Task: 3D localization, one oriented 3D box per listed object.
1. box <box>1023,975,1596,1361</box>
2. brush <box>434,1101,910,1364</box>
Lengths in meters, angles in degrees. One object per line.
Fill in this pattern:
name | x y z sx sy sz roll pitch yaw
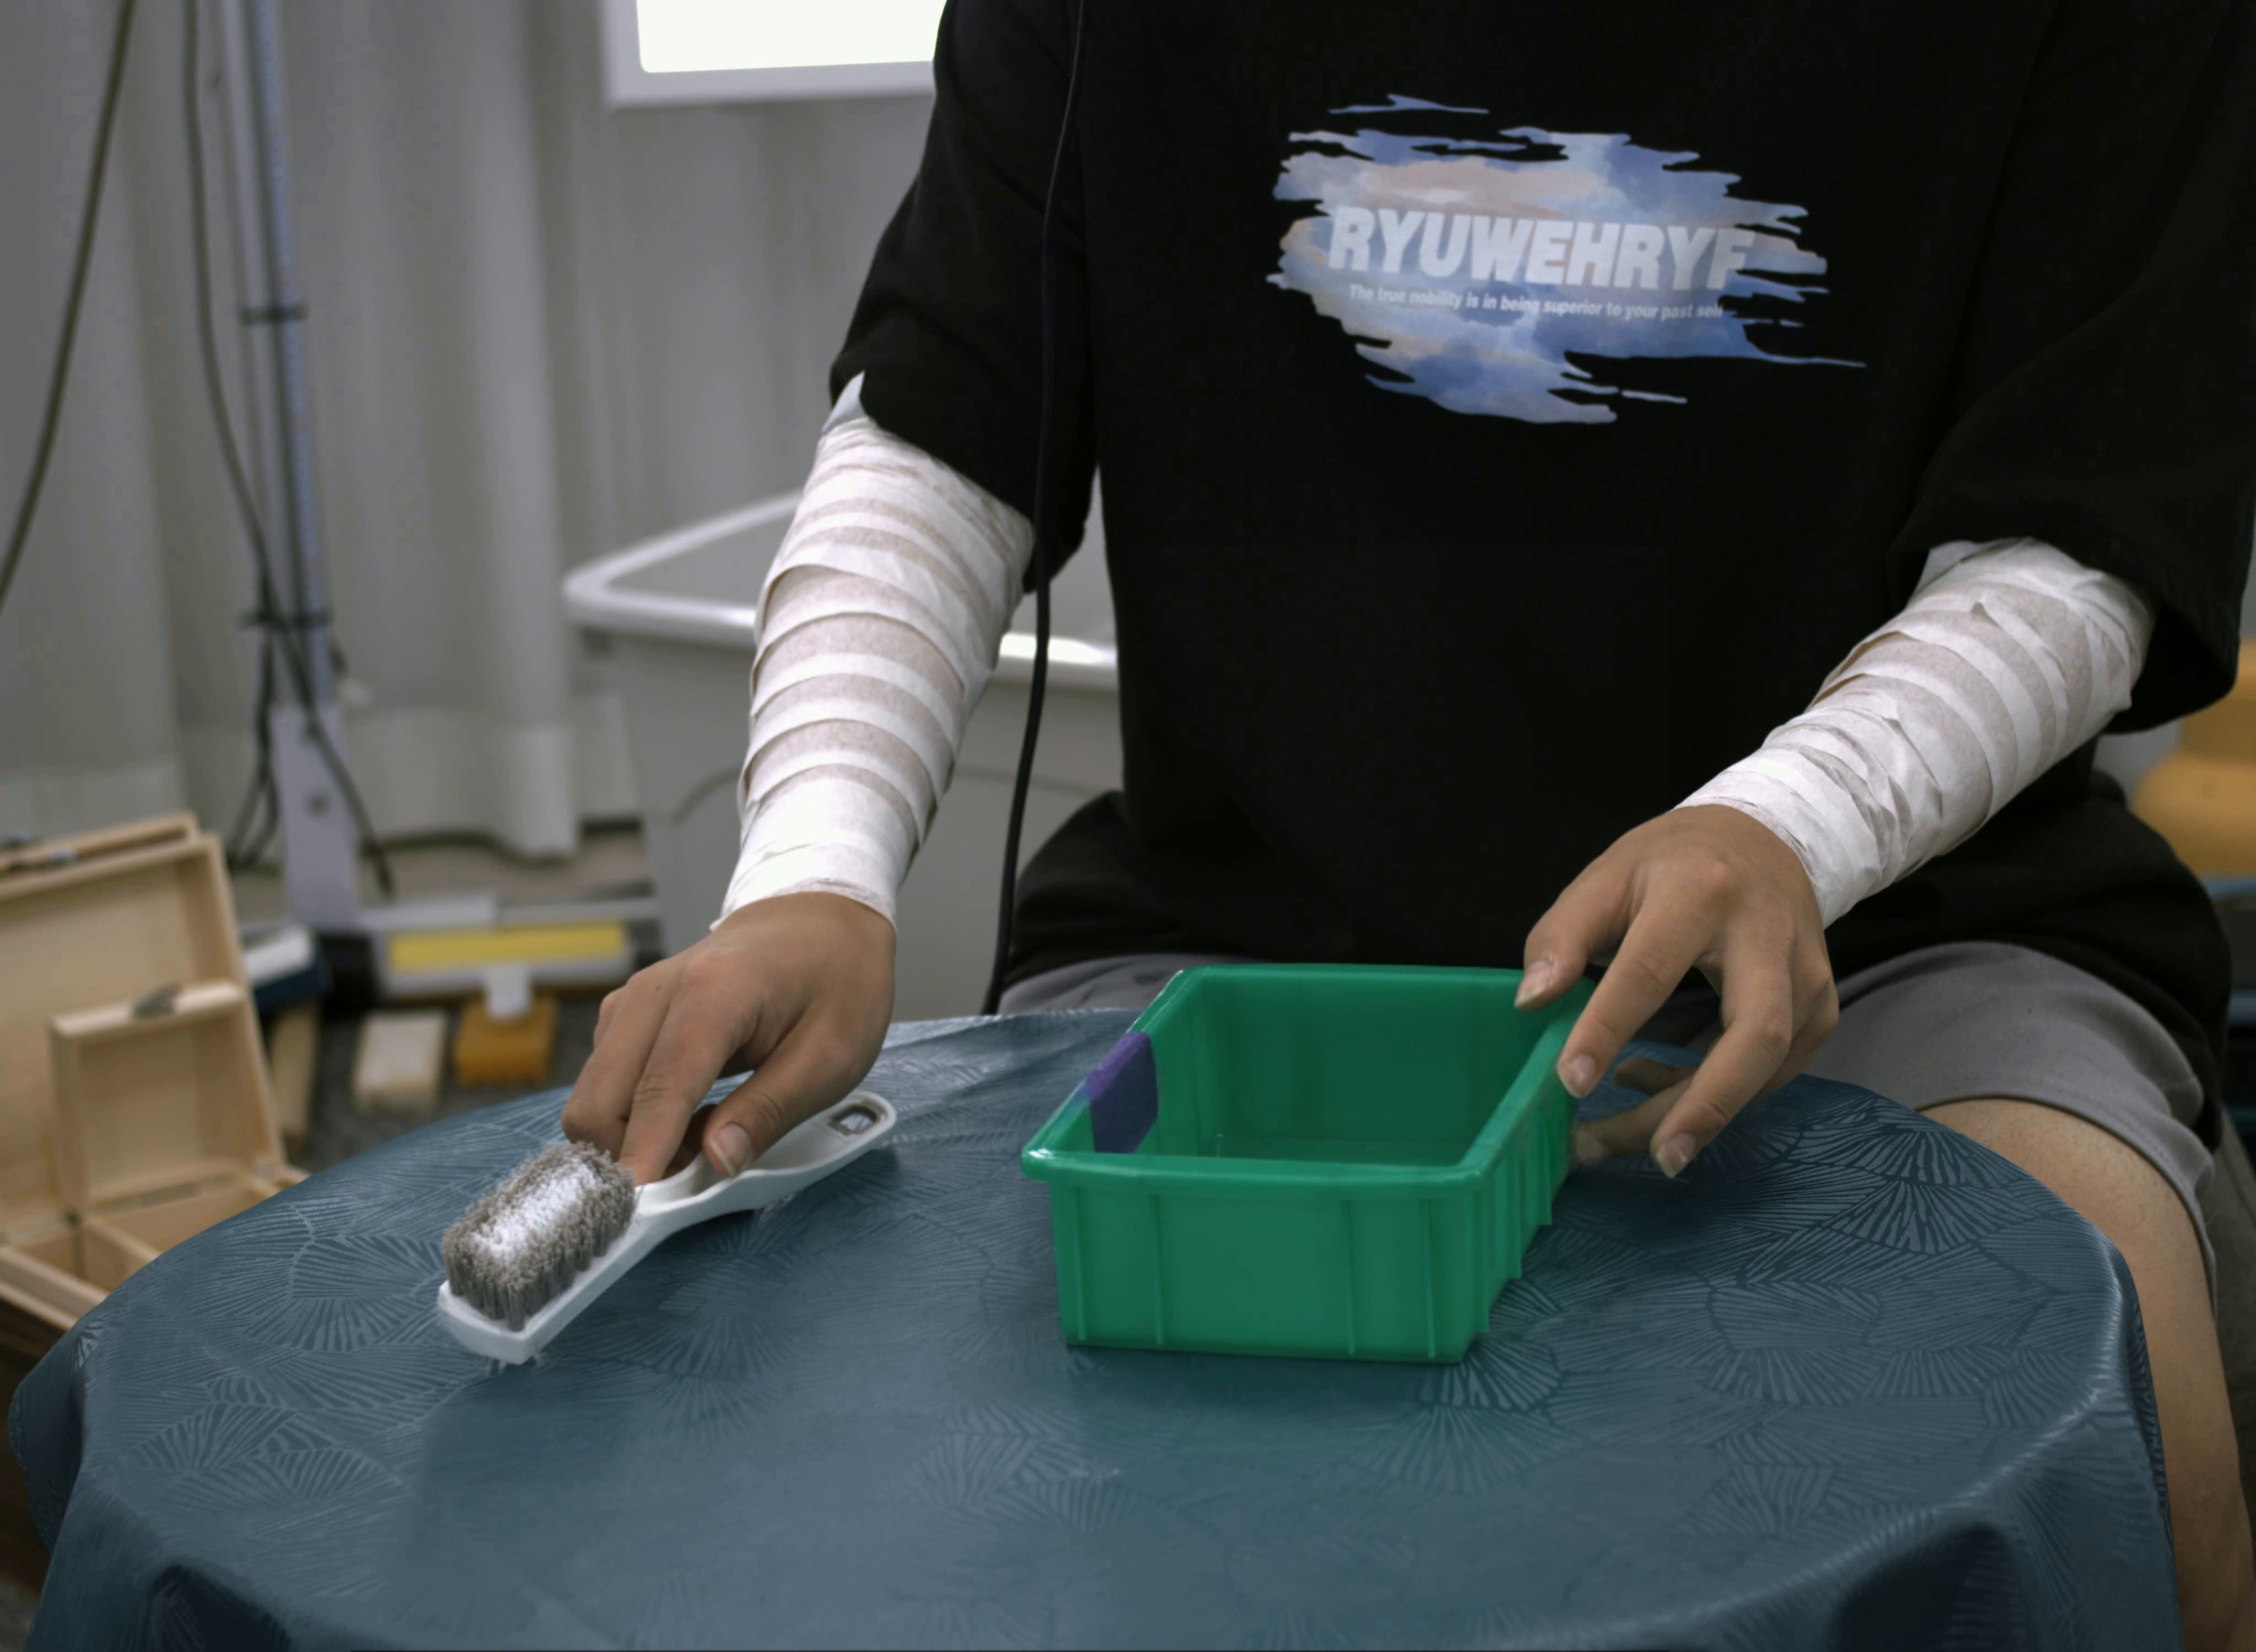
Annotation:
box | 0.059 0.101 1.635 0.138 0.065 0.211 -1 14 15
brush | -0.130 0.106 1.672 0.034 0.050 0.244 30 26 21
